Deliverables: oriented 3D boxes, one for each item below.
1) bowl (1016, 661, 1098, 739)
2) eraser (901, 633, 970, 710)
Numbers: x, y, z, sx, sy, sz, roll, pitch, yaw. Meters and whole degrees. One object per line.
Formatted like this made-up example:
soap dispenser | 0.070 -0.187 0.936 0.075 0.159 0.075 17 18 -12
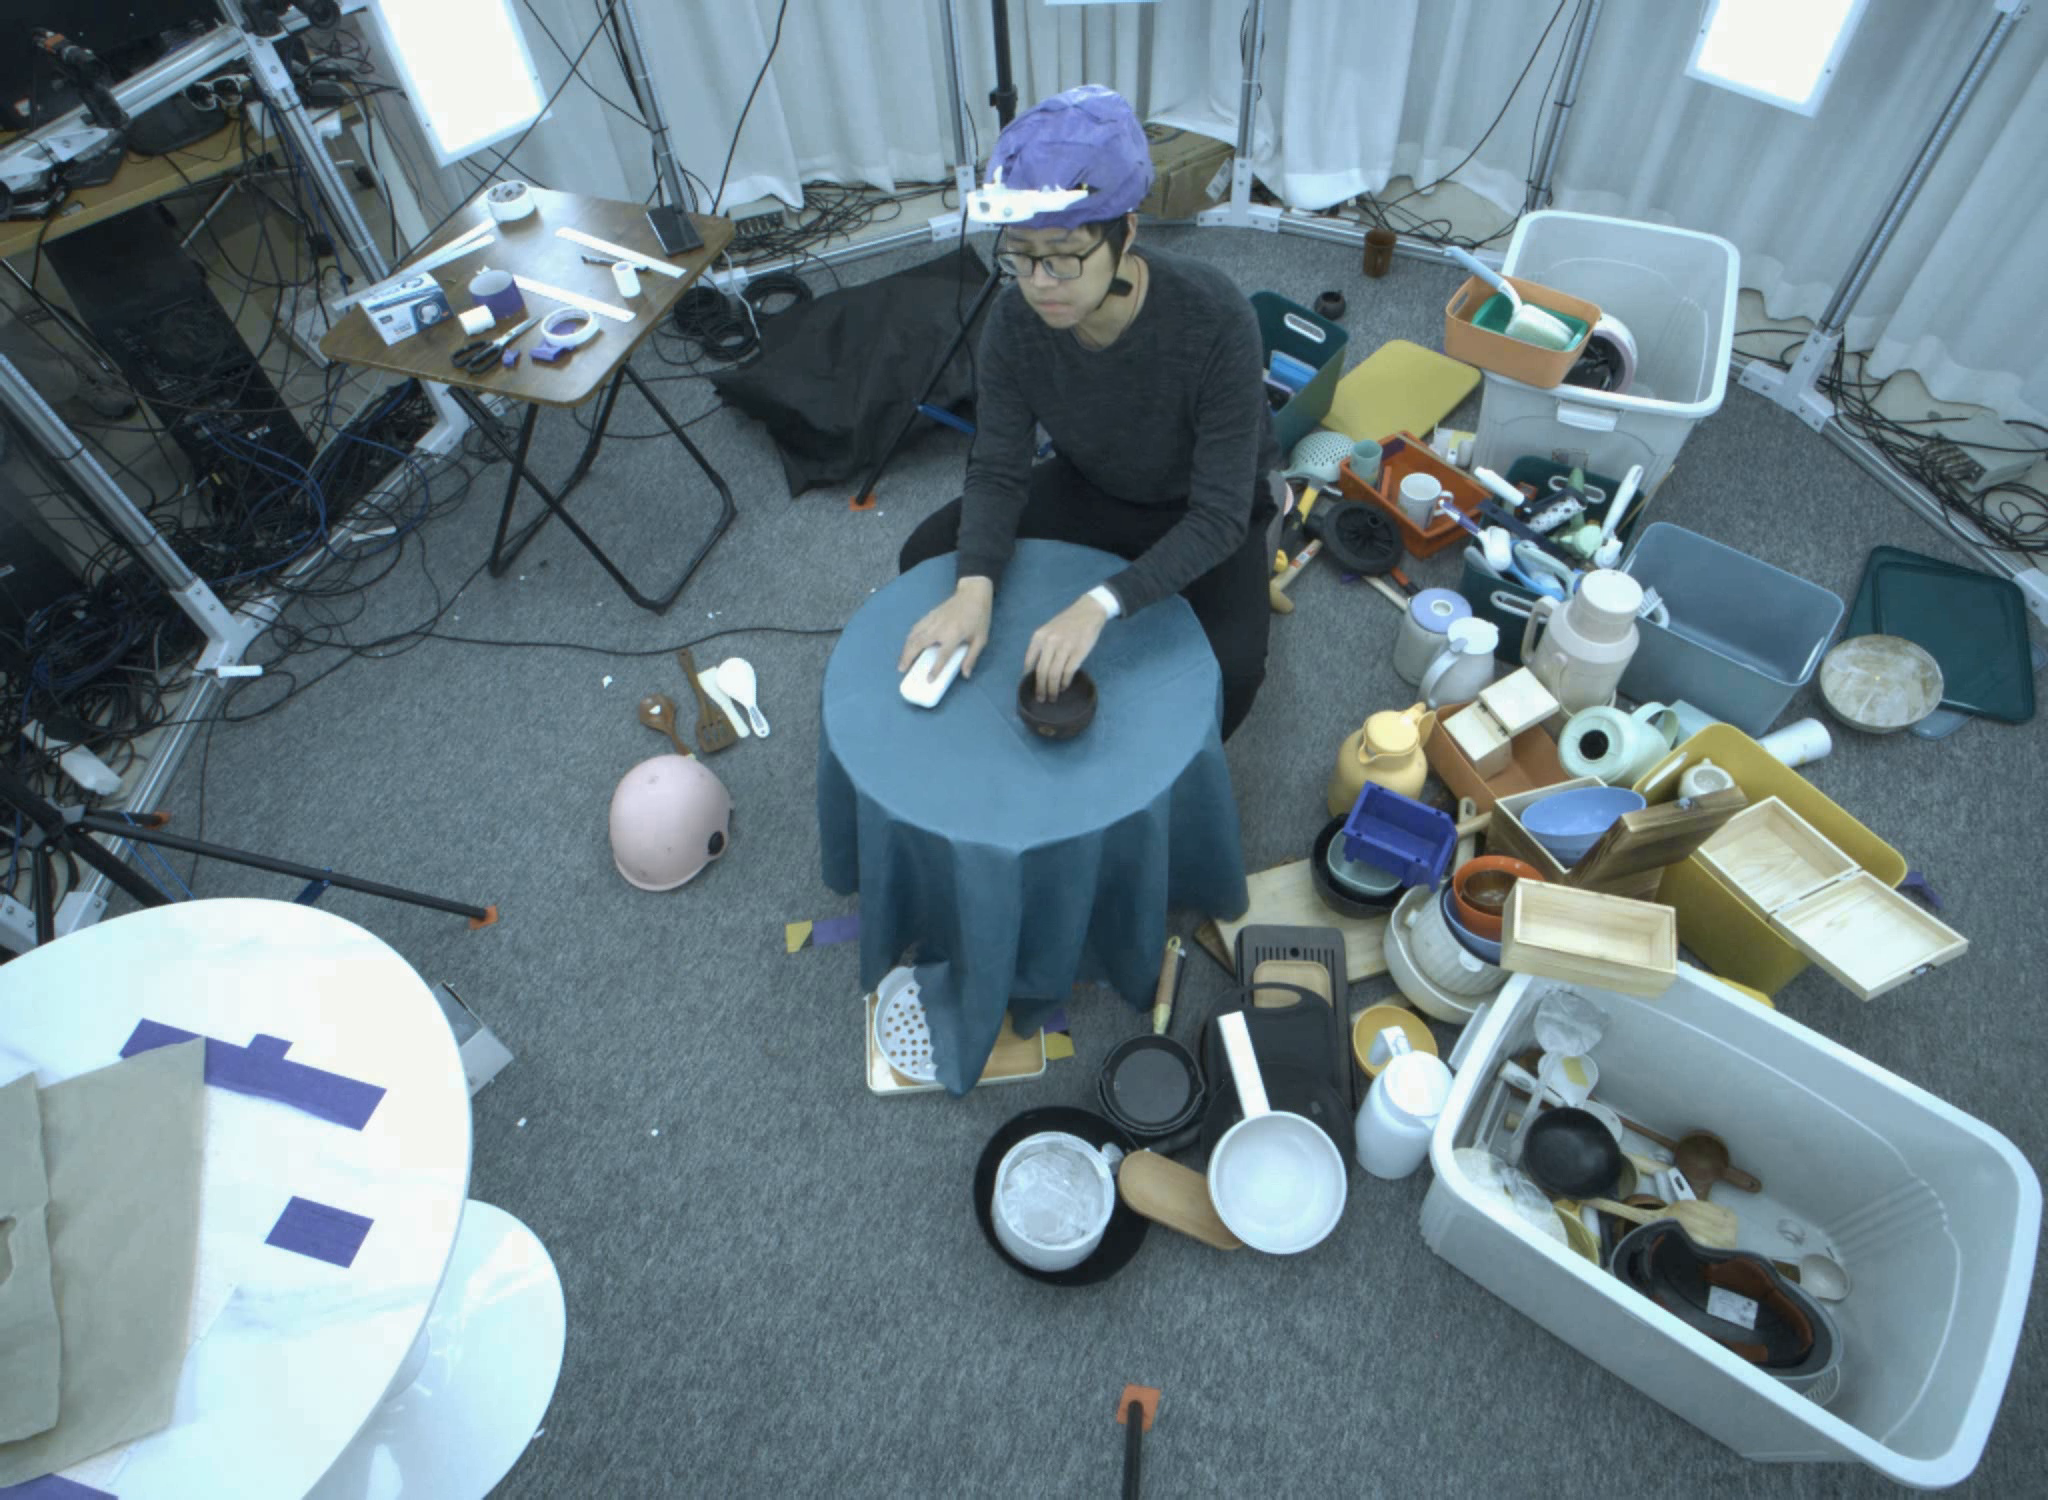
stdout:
bowl | 0.048 -0.064 1.788 0.118 0.070 0.117 -1 54 3
eraser | -0.133 -0.121 1.859 0.062 0.035 0.131 21 58 16
